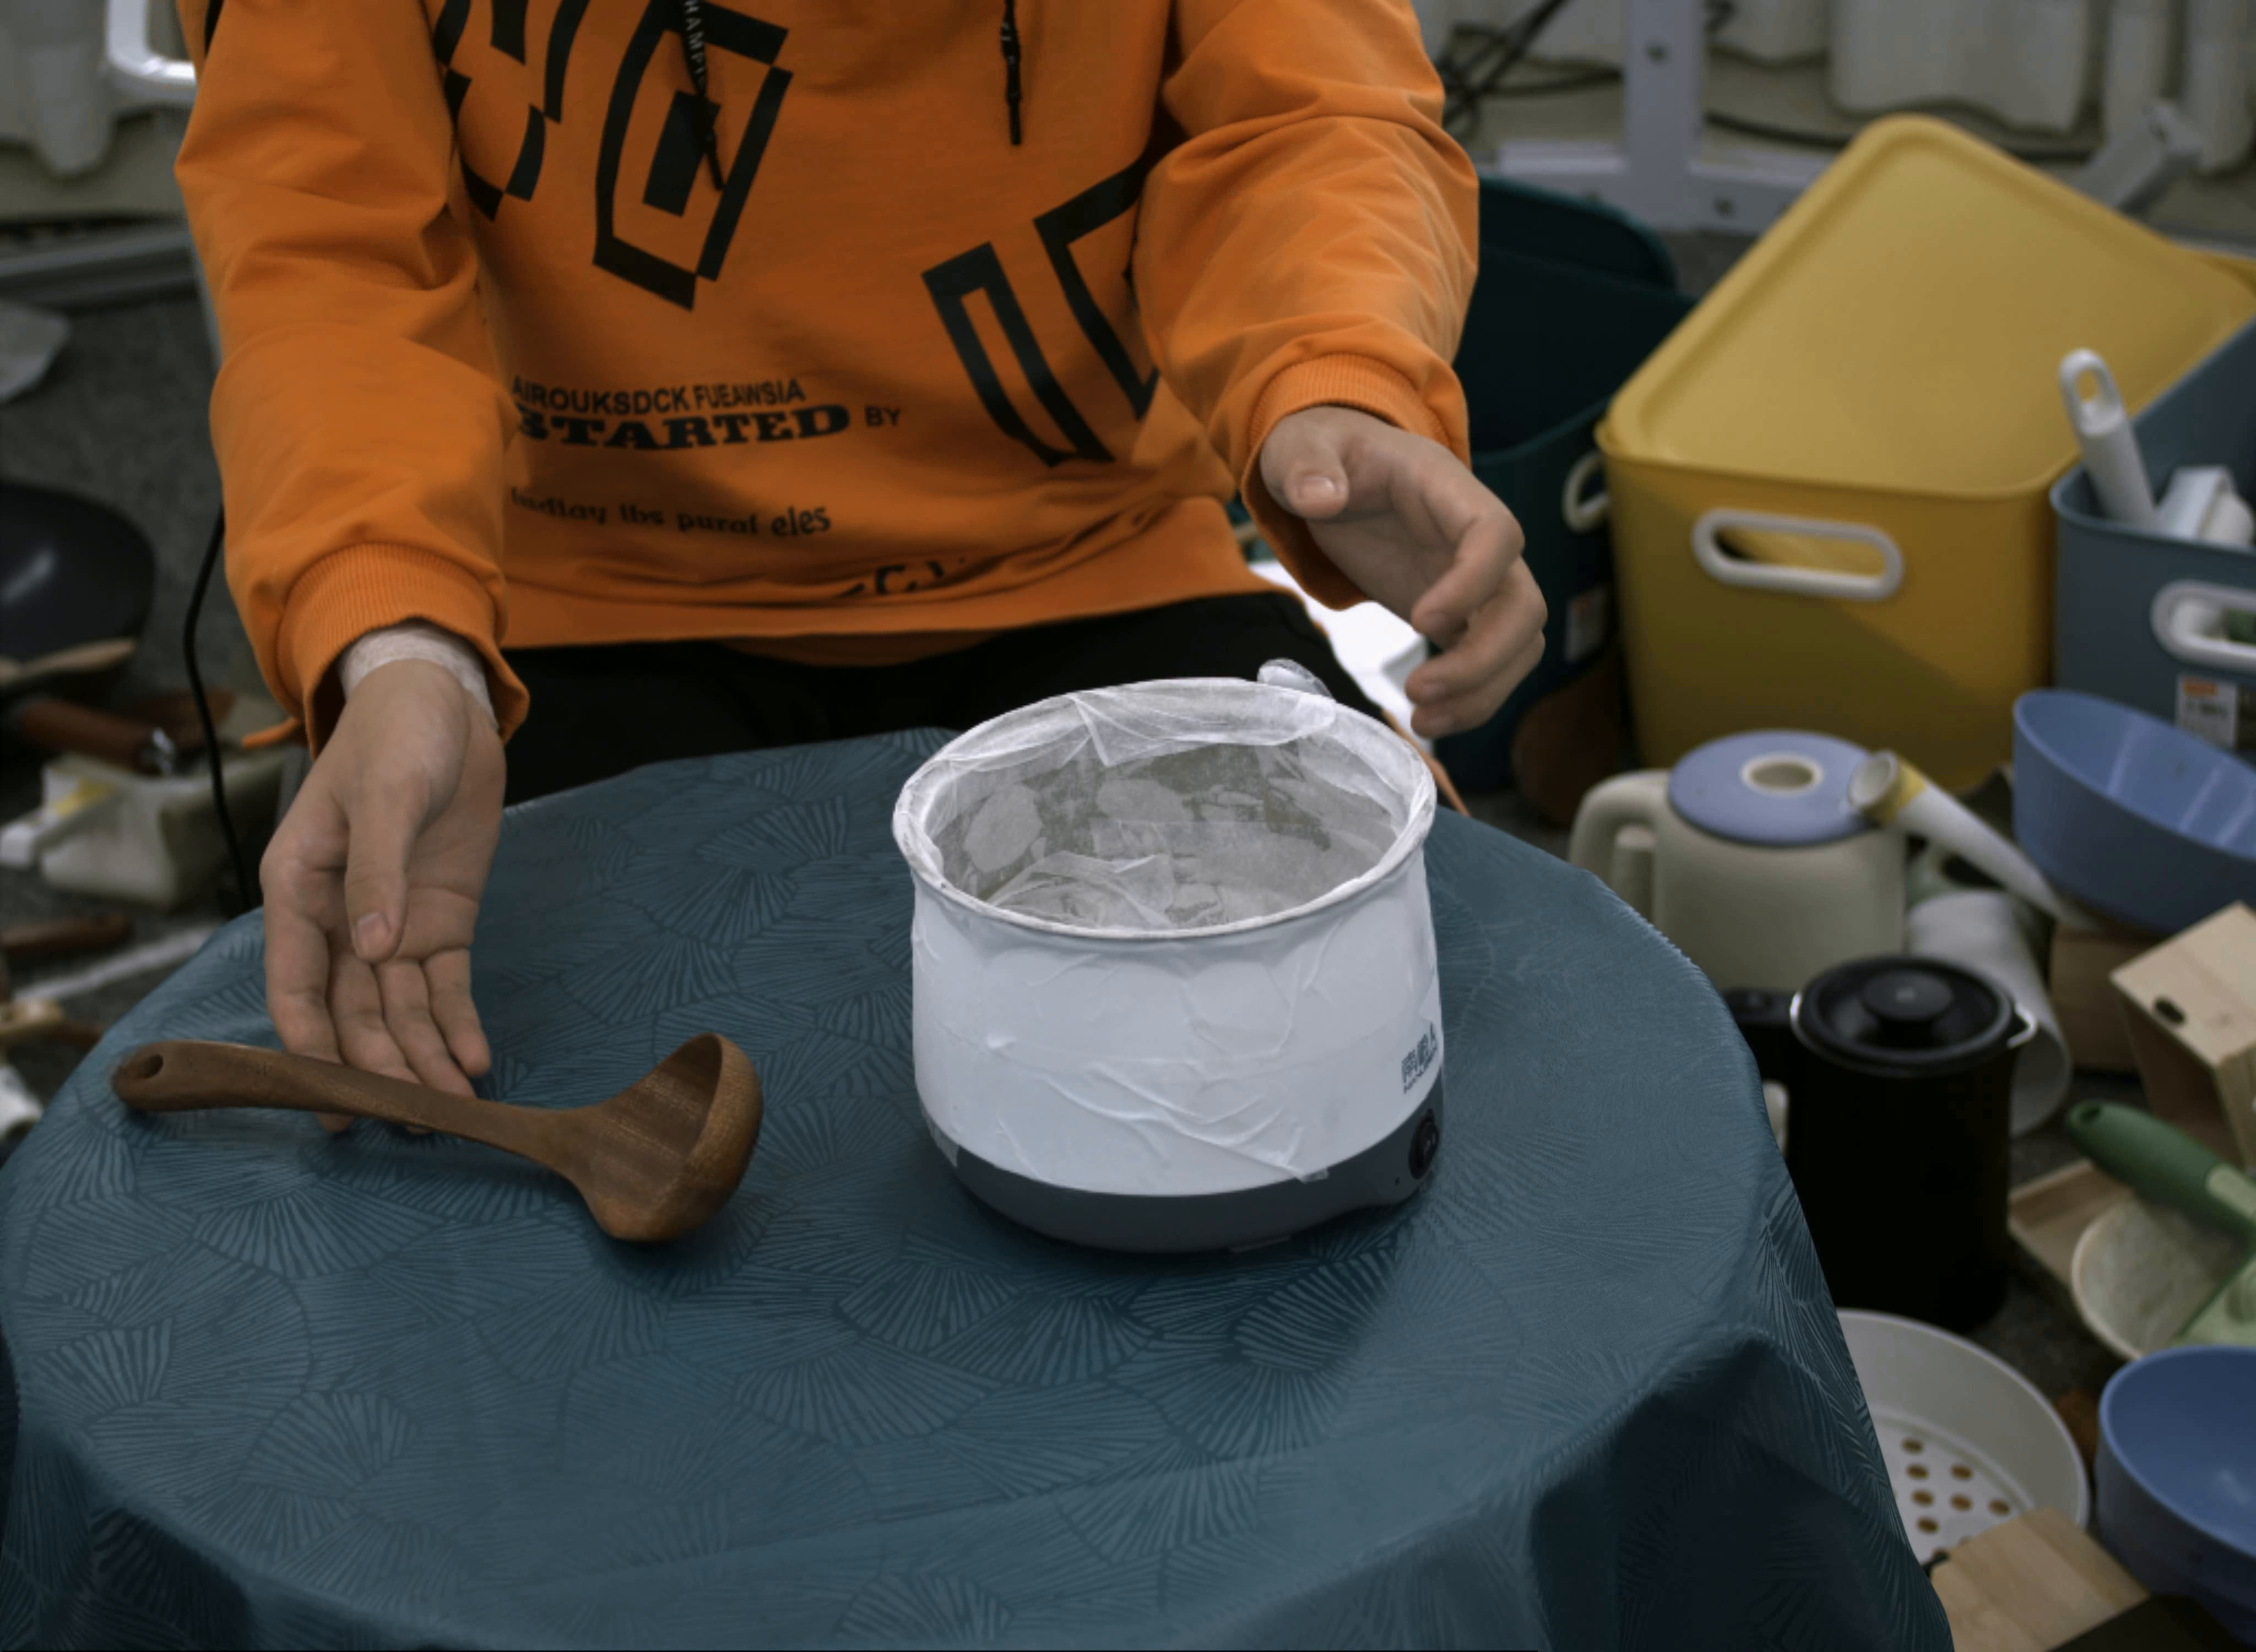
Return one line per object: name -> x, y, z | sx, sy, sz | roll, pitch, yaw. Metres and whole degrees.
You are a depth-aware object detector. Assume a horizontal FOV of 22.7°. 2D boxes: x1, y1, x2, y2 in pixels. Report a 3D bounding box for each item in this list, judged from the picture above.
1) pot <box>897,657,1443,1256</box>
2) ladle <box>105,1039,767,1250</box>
pot -> 0.026, 0.036, 1.878 | 0.177, 0.135, 0.238 | 9, 30, 21
ladle -> -0.238, 0.092, 1.879 | 0.258, 0.064, 0.078 | 9, 54, 21
